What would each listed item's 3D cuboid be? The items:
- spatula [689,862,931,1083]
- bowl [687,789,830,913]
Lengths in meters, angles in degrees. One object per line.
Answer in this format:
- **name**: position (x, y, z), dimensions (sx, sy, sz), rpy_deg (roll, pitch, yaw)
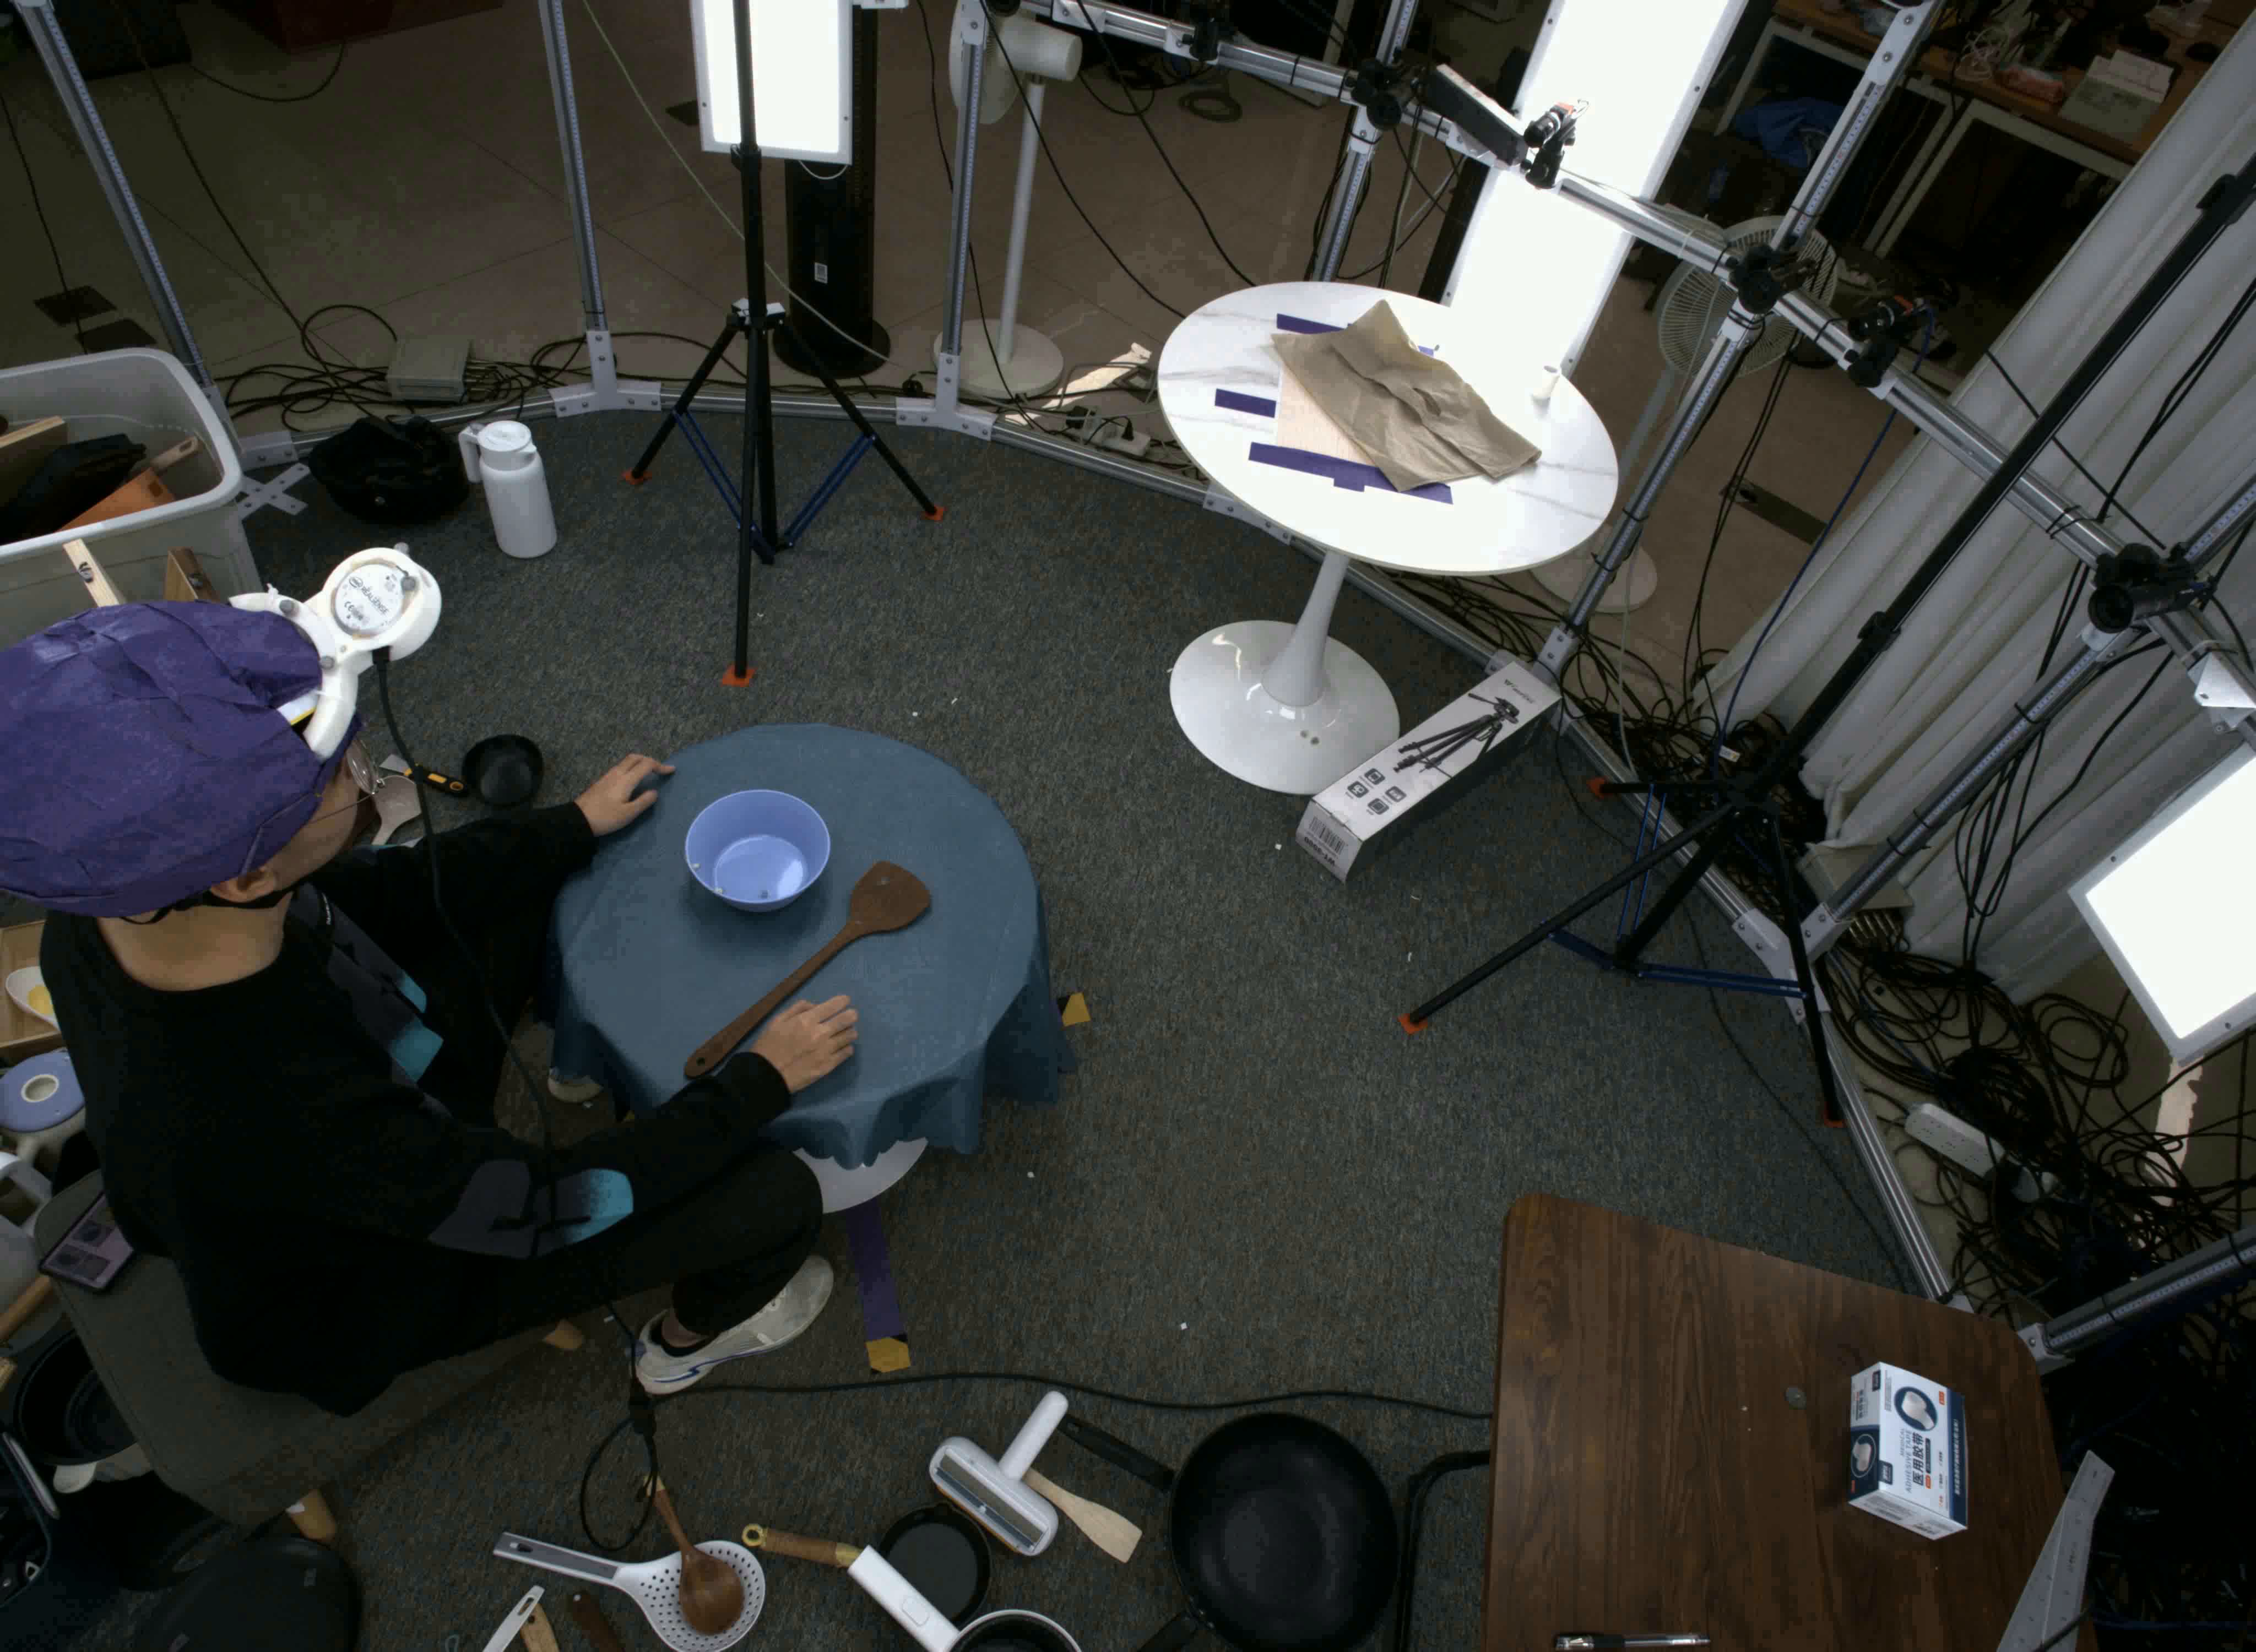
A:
- **spatula**: position (-0.394, 0.176, 1.596), dimensions (0.094, 0.016, 0.385), rpy_deg (35, 54, 13)
- **bowl**: position (-0.466, 0.041, 1.643), dimensions (0.175, 0.072, 0.173), rpy_deg (7, 53, -8)
